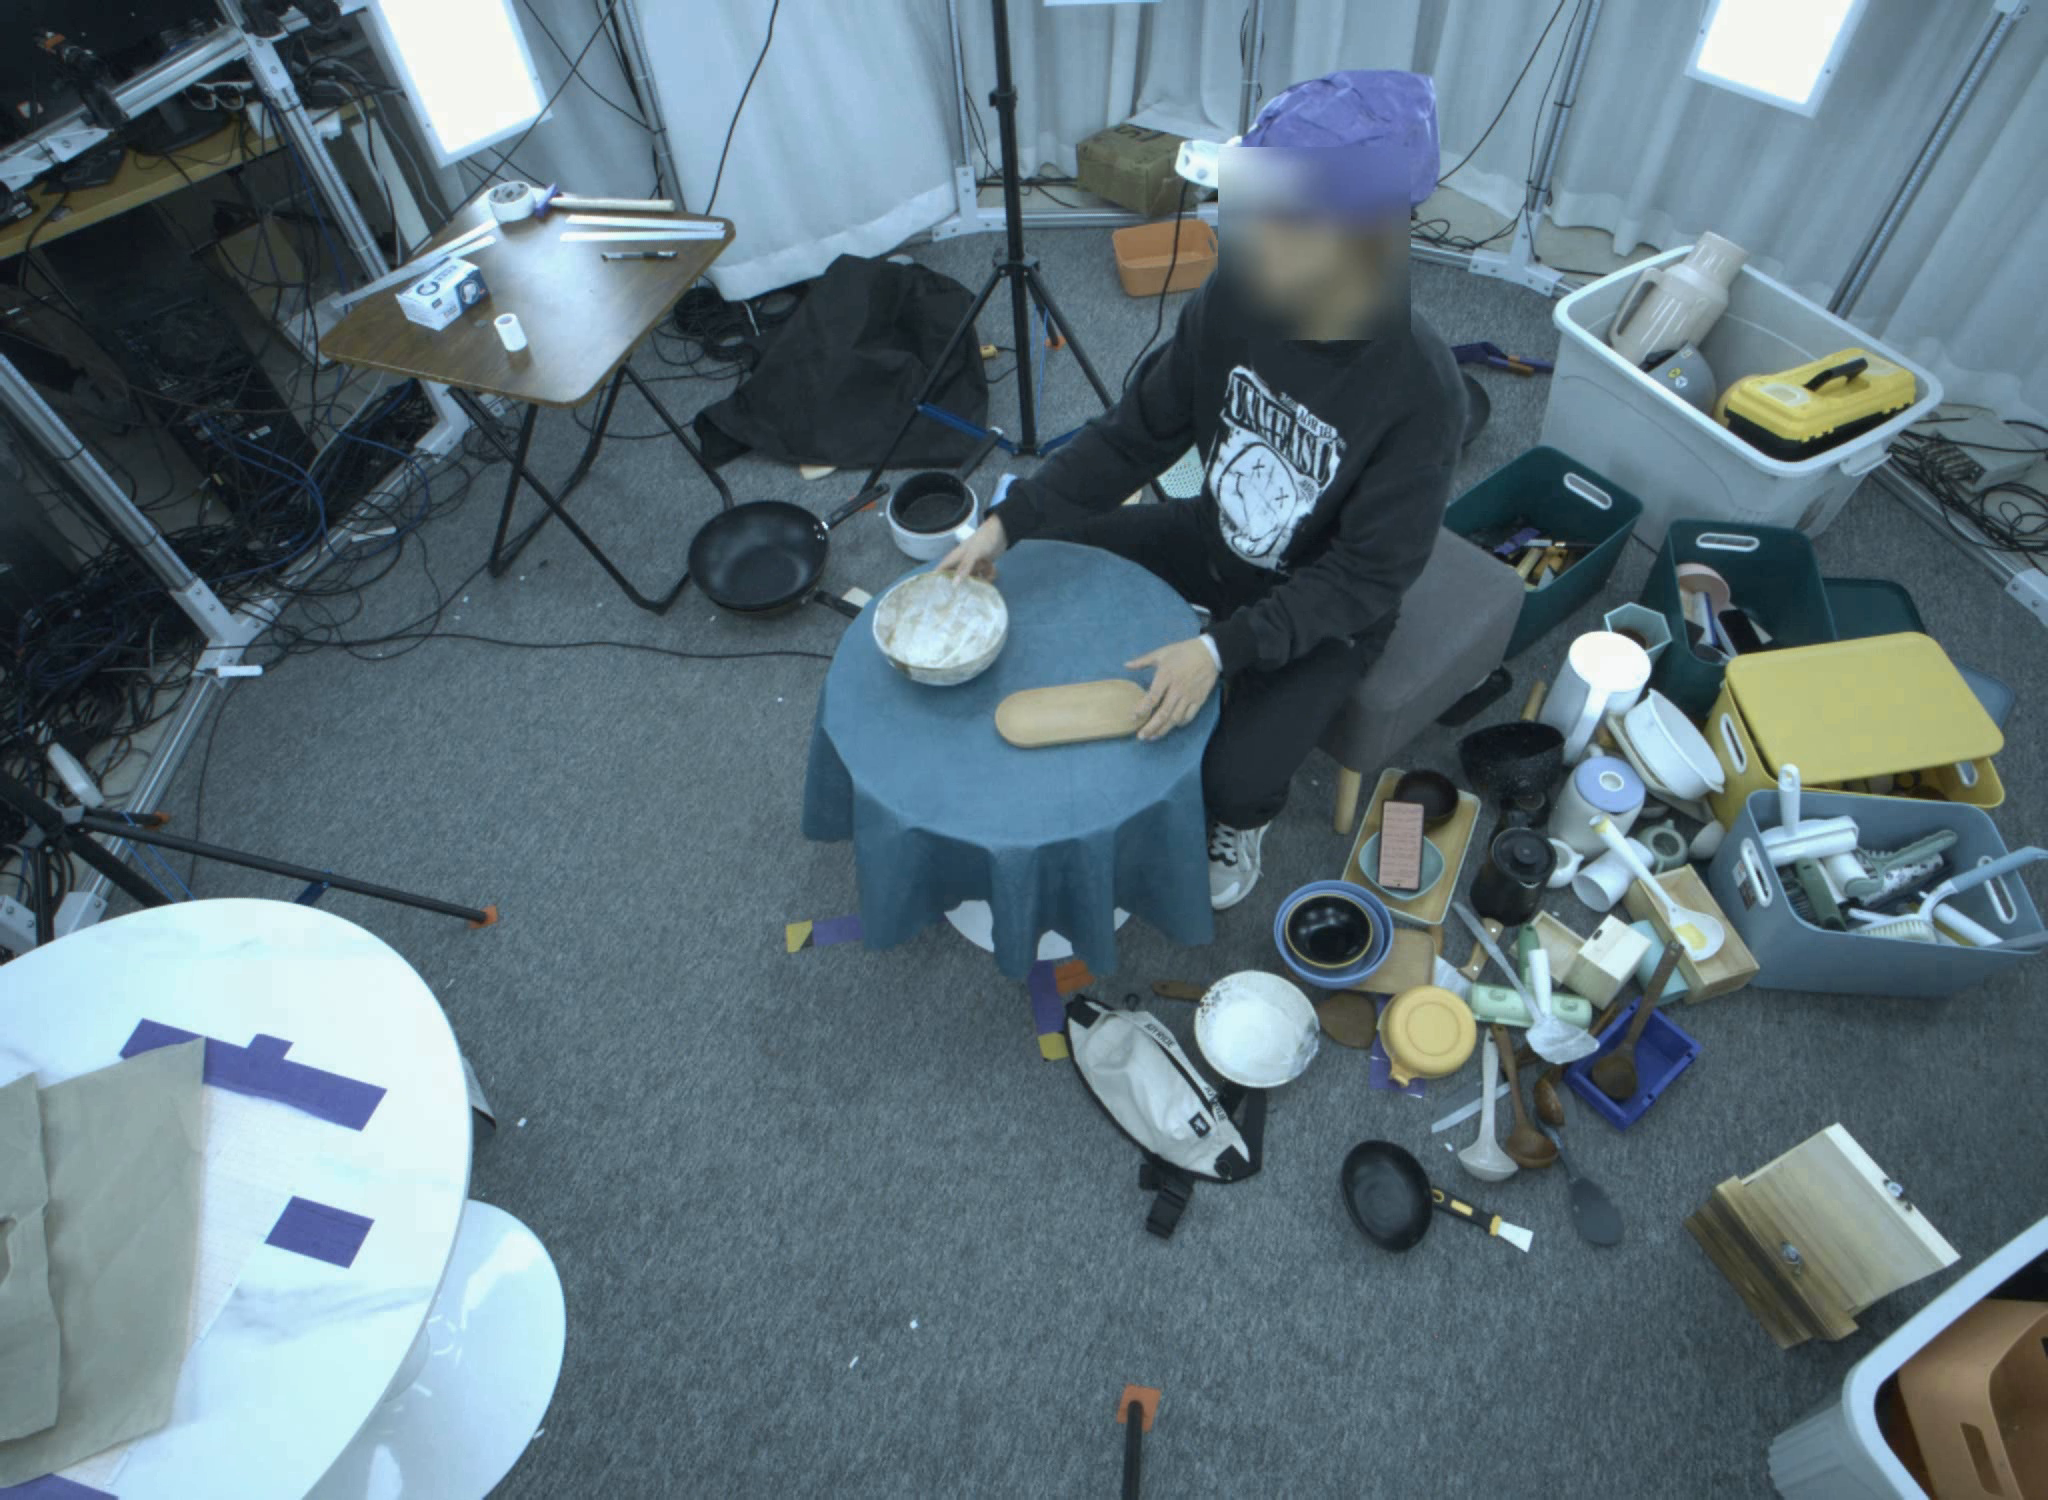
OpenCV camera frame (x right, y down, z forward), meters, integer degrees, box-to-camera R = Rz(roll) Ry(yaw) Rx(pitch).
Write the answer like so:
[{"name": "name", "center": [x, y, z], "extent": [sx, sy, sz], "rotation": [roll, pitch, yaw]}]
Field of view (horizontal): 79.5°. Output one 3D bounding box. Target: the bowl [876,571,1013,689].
[{"name": "bowl", "center": [-0.116, -0.164, 1.858], "extent": [0.214, 0.095, 0.212], "rotation": [-1, 53, 2]}]

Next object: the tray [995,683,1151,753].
[{"name": "tray", "center": [0.073, -0.047, 1.820], "extent": [0.231, 0.020, 0.100], "rotation": [-9, 53, -2]}]
